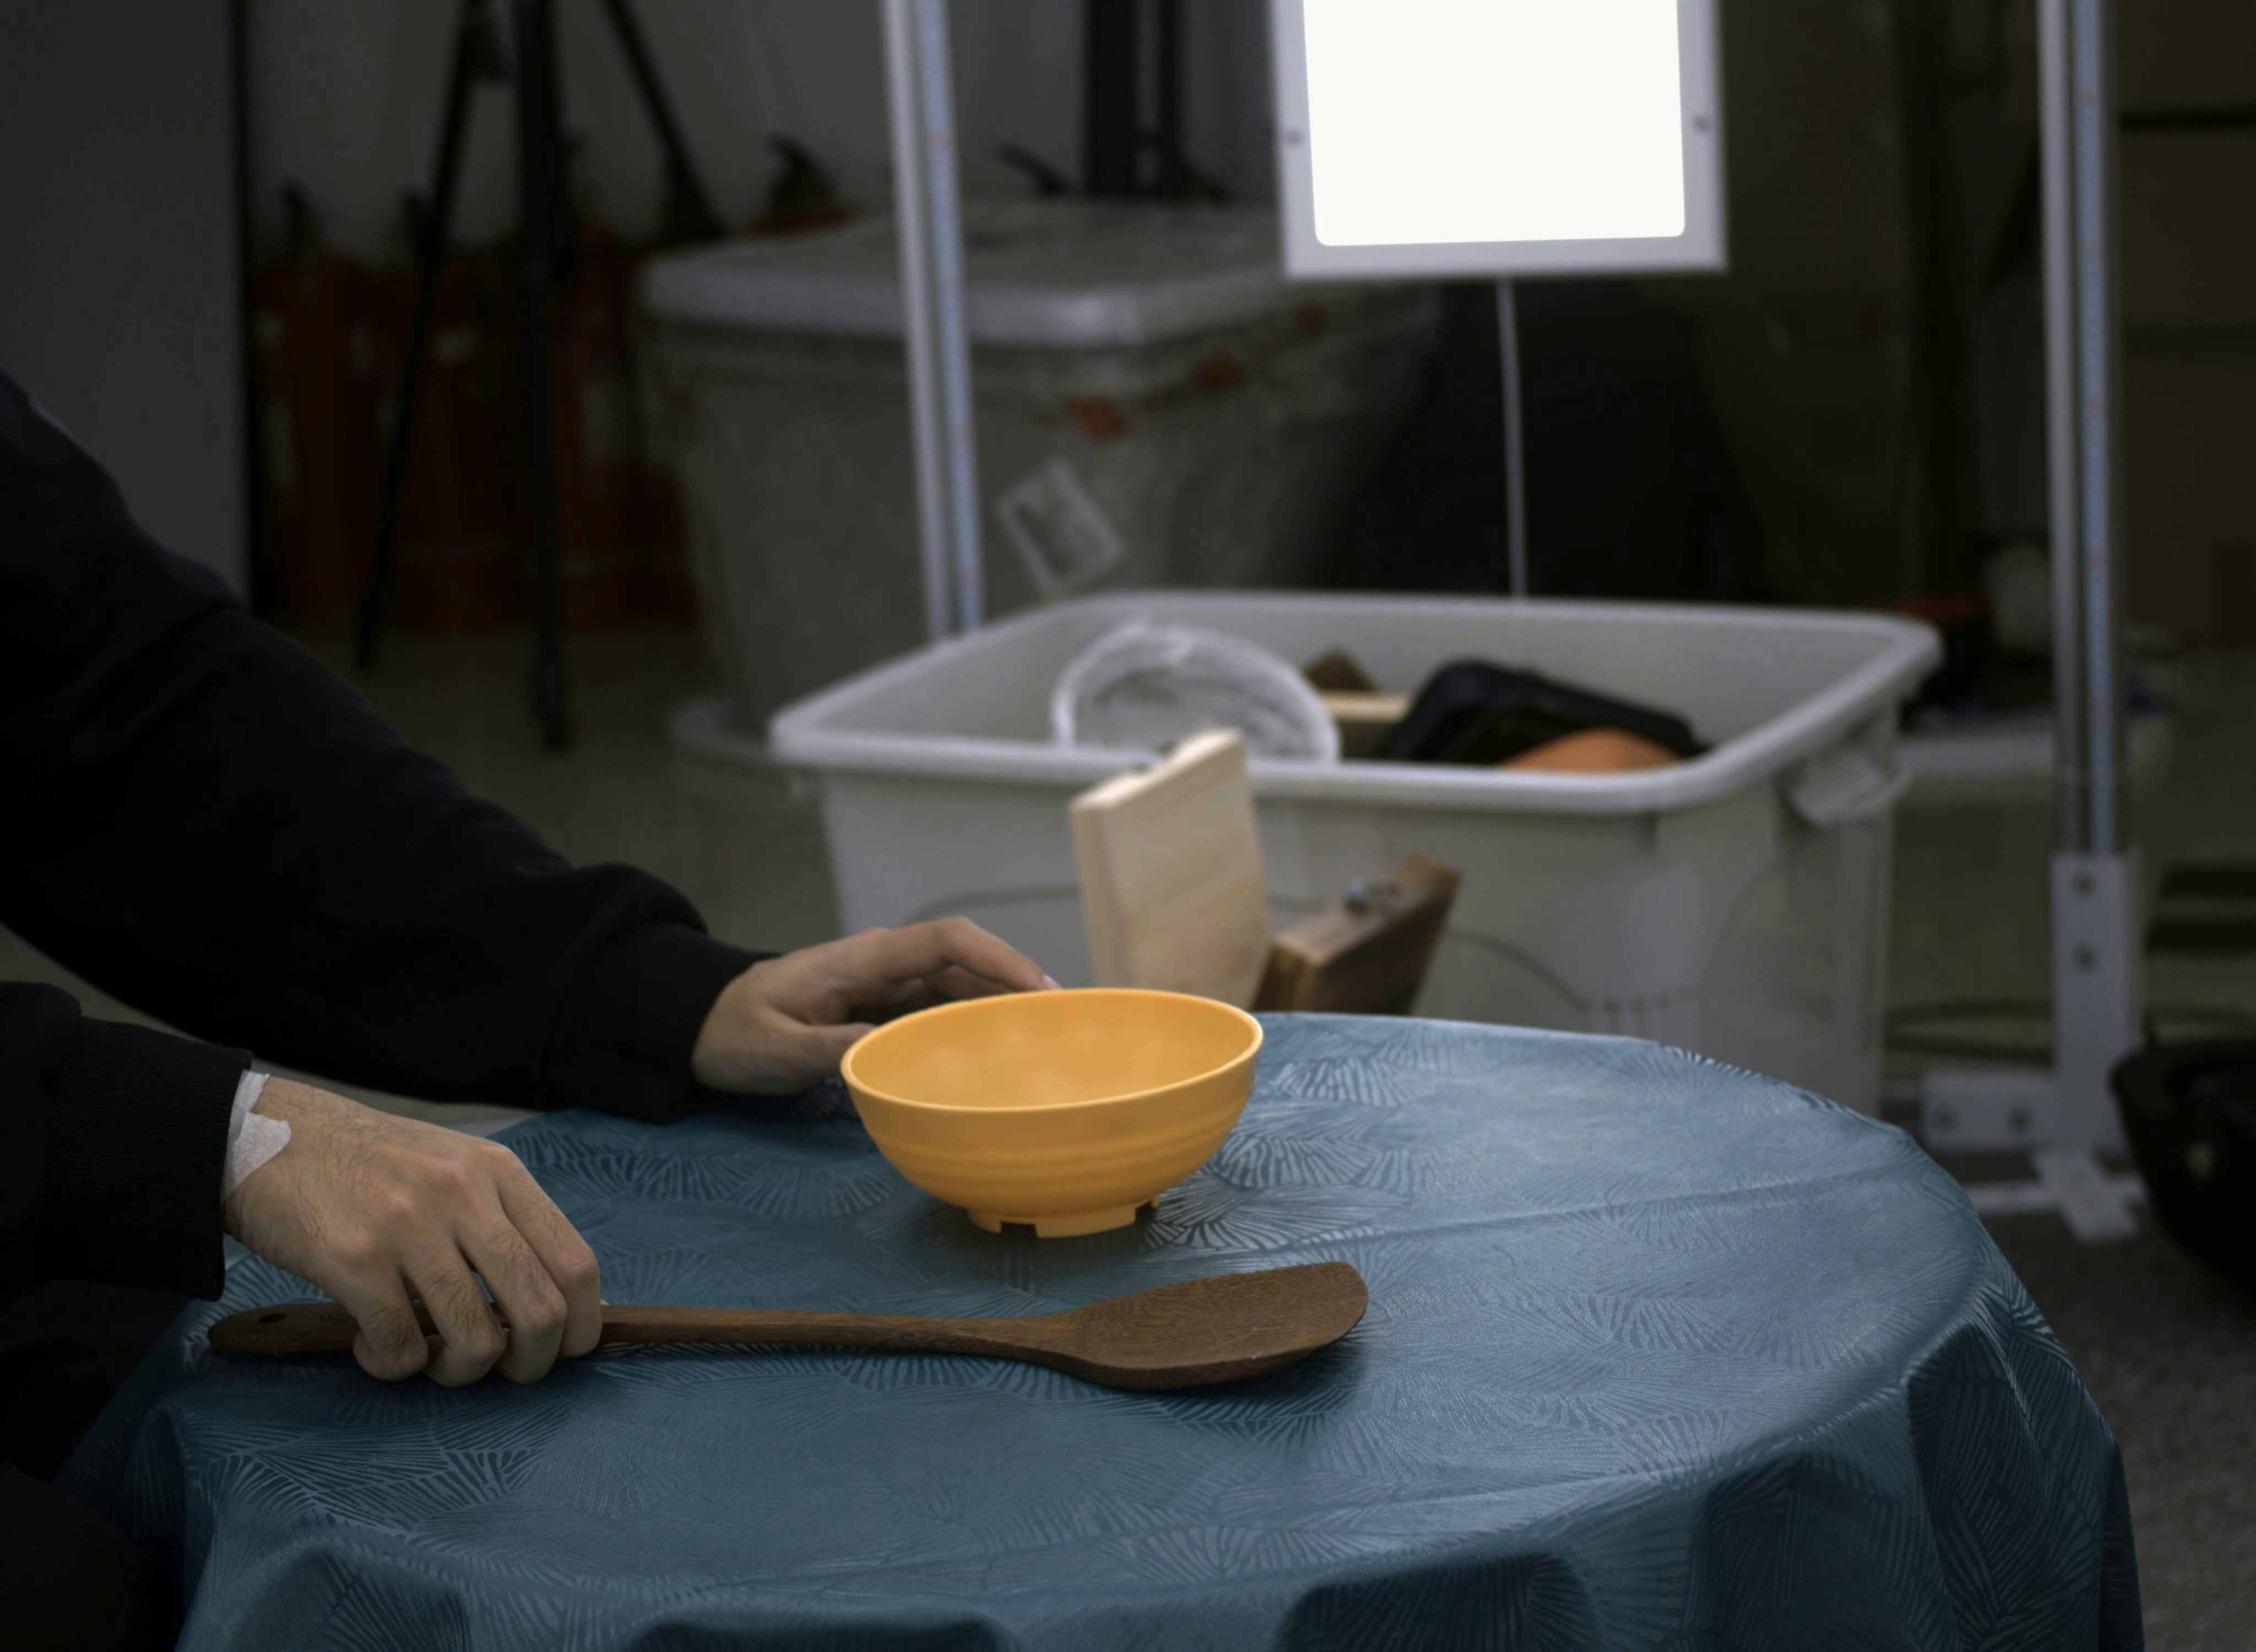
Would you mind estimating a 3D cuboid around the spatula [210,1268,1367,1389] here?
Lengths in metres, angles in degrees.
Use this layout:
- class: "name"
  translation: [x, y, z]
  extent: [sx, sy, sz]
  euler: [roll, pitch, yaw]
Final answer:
- class: "spatula"
  translation: [-0.114, 0.161, 1.768]
  extent: [0.389, 0.016, 0.095]
  euler: [-1, 14, 15]

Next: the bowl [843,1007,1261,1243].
- class: "bowl"
  translation: [-0.024, 0.105, 1.879]
  extent: [0.145, 0.060, 0.145]
  euler: [-5, 11, 0]
